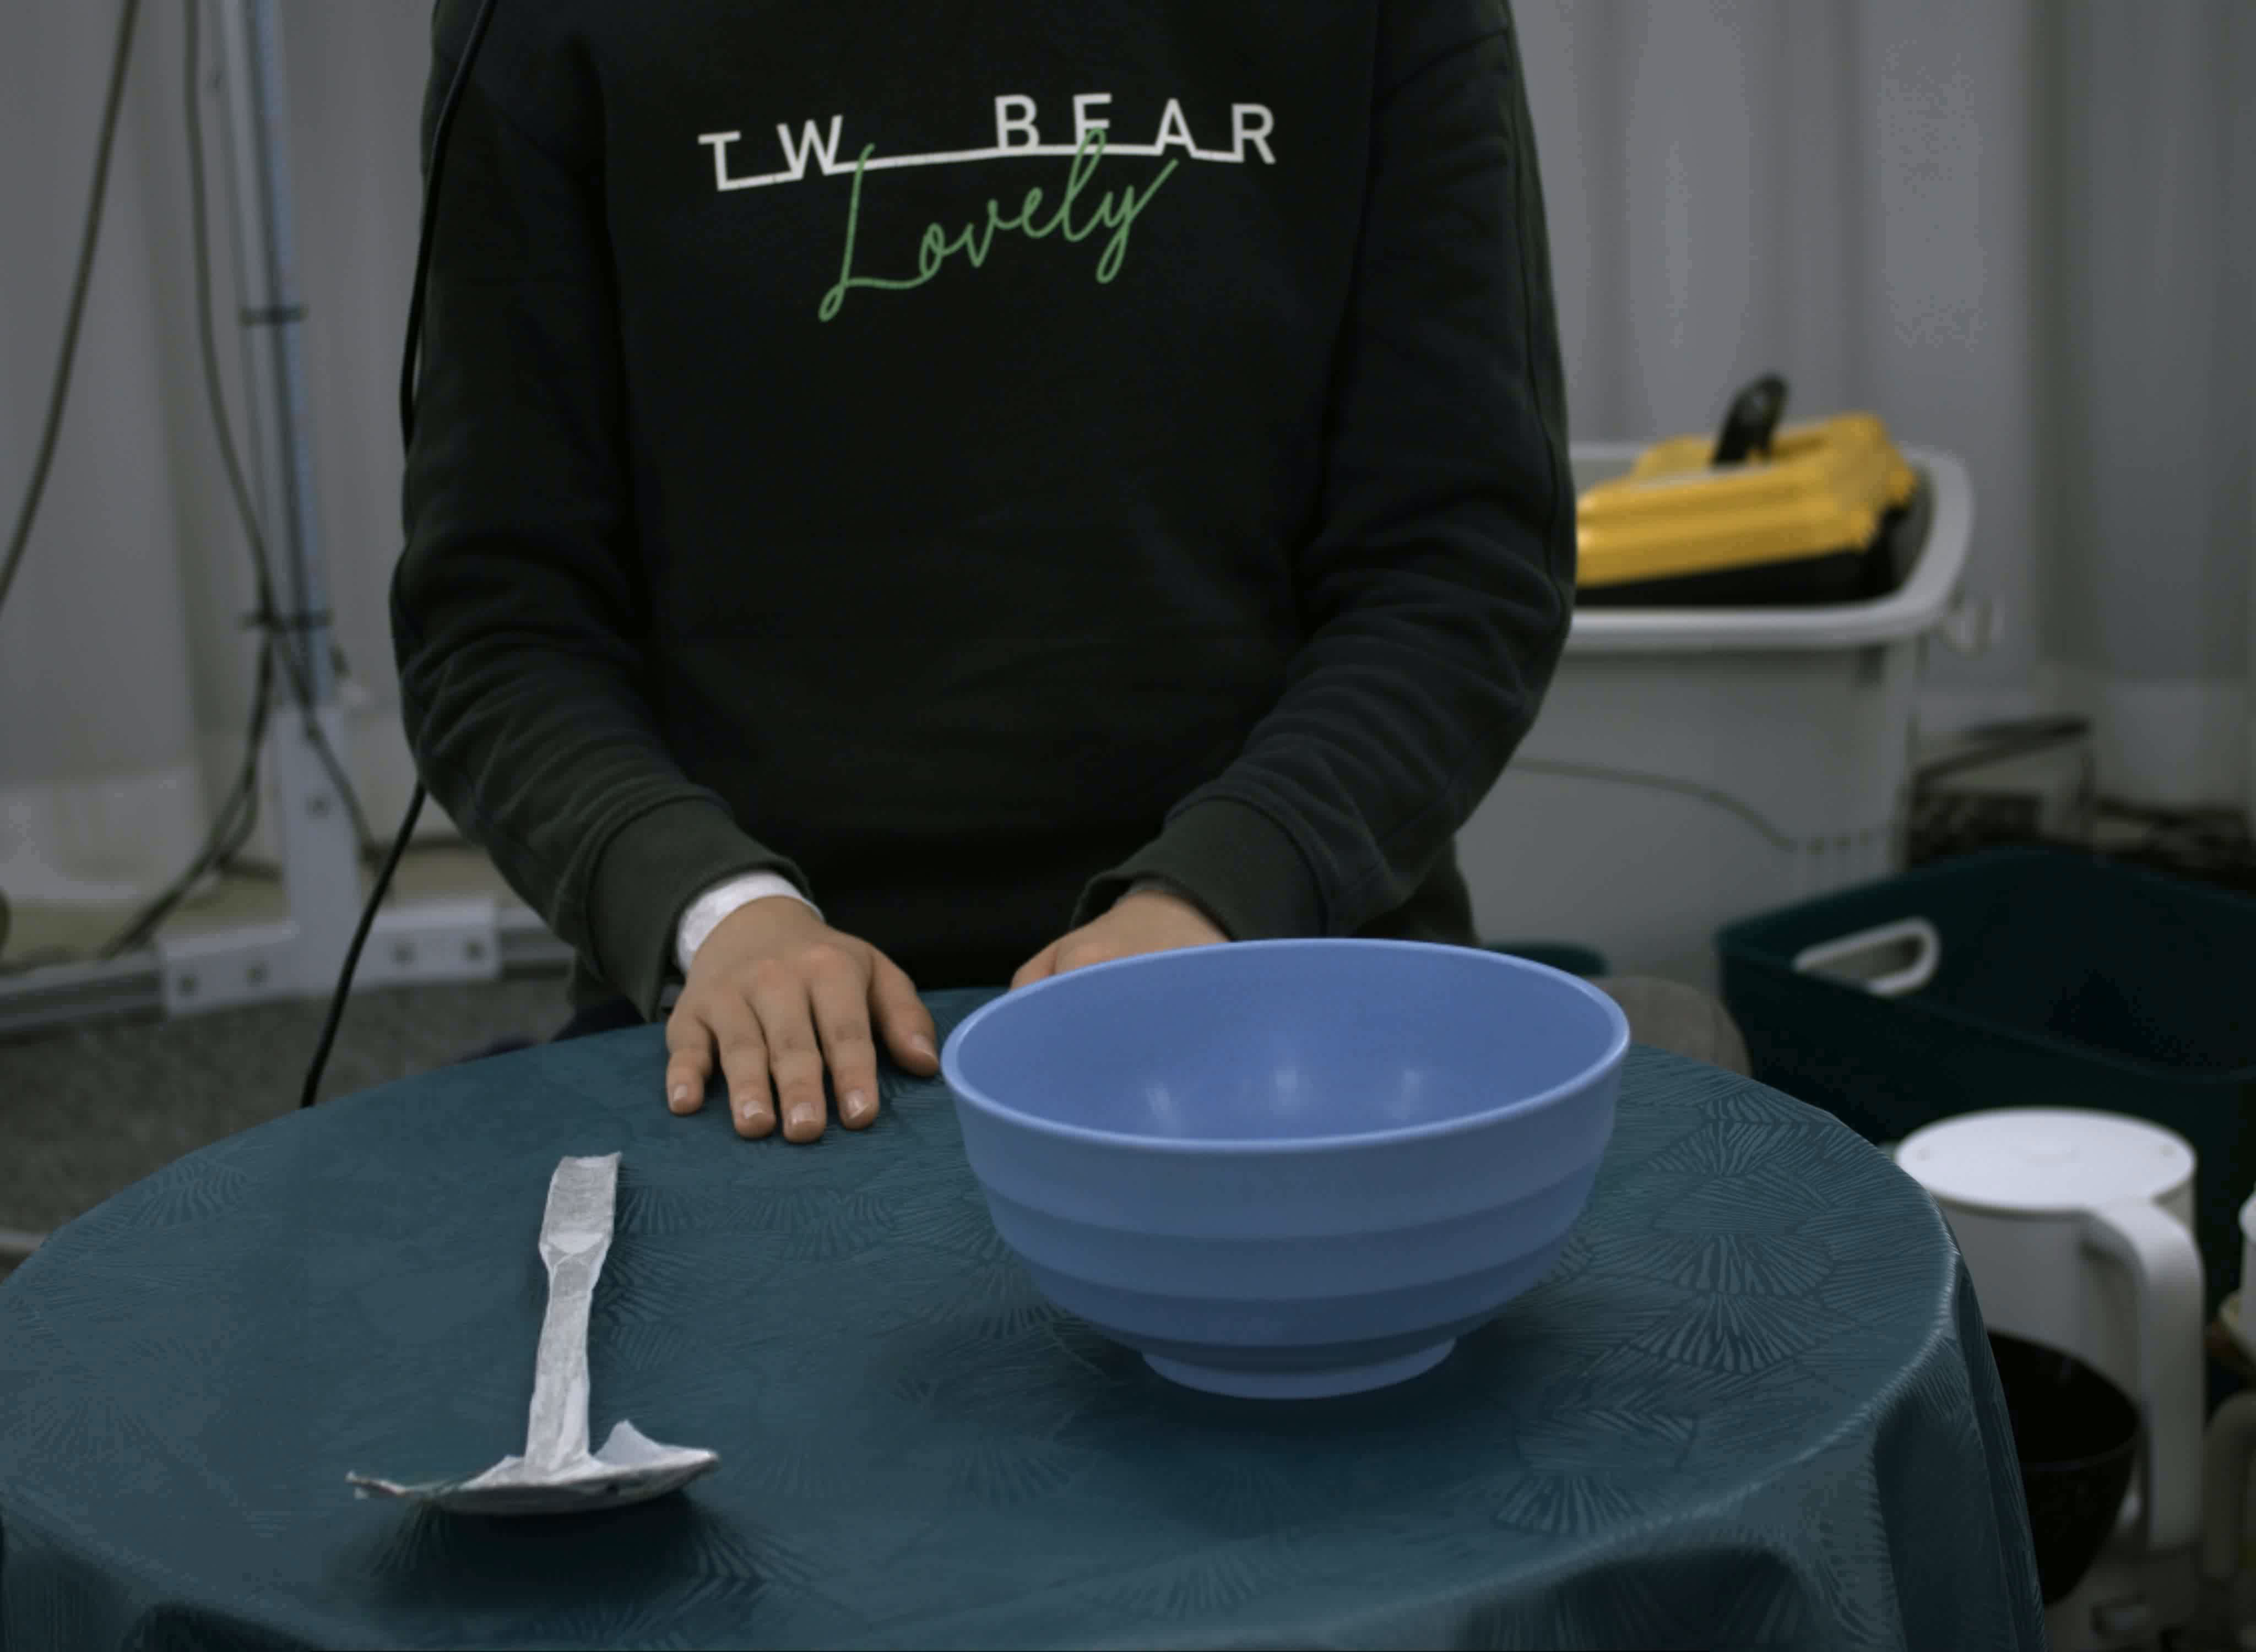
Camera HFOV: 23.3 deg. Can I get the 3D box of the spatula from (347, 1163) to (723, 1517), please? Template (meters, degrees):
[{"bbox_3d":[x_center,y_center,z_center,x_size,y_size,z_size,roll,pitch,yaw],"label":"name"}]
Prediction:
[{"bbox_3d":[-0.158,0.139,1.578,0.098,0.044,0.367,-5,15,-1],"label":"spatula"}]

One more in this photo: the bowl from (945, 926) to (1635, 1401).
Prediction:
[{"bbox_3d":[0.048,0.103,1.563,0.196,0.095,0.198,-3,17,1],"label":"bowl"}]
